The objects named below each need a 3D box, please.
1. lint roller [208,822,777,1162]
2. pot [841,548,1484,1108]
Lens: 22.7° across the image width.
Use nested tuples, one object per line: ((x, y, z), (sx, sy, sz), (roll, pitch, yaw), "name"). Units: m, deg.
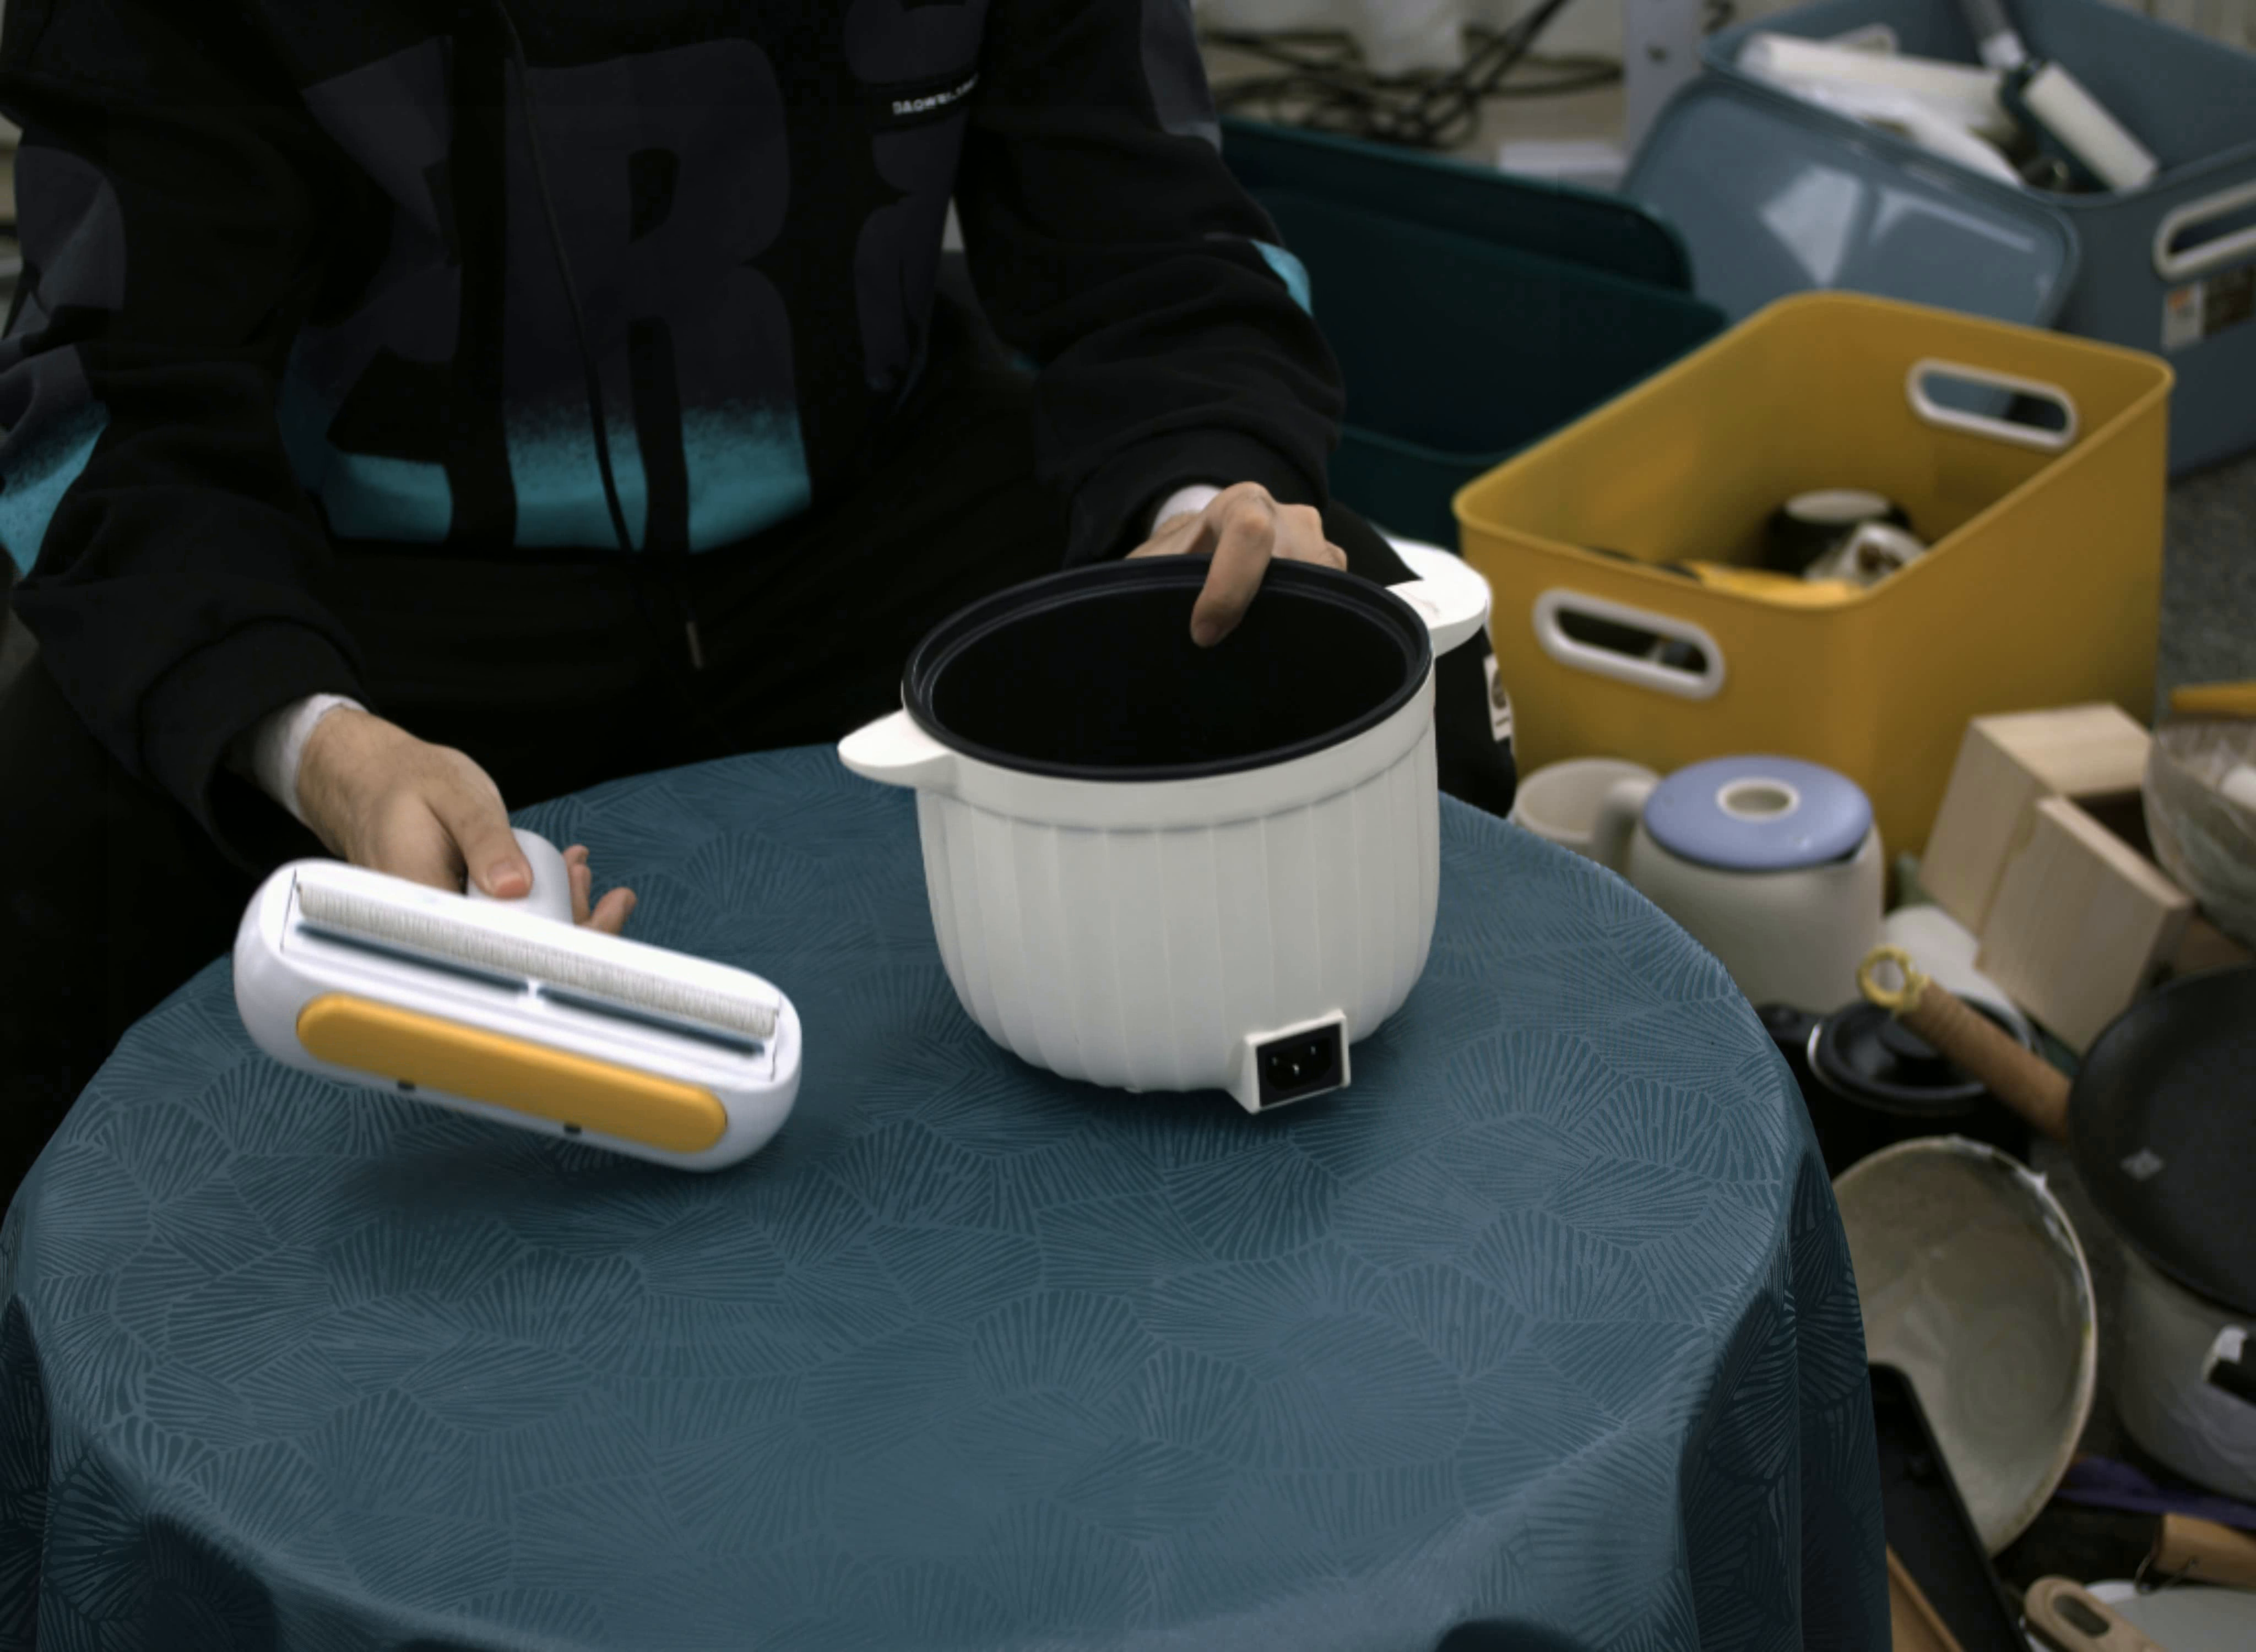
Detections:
((-0.212, 0.037, 1.923), (0.192, 0.073, 0.195), (14, 27, -7), "lint roller")
((0.014, 0.000, 1.936), (0.241, 0.141, 0.191), (-13, 29, -23), "pot")
